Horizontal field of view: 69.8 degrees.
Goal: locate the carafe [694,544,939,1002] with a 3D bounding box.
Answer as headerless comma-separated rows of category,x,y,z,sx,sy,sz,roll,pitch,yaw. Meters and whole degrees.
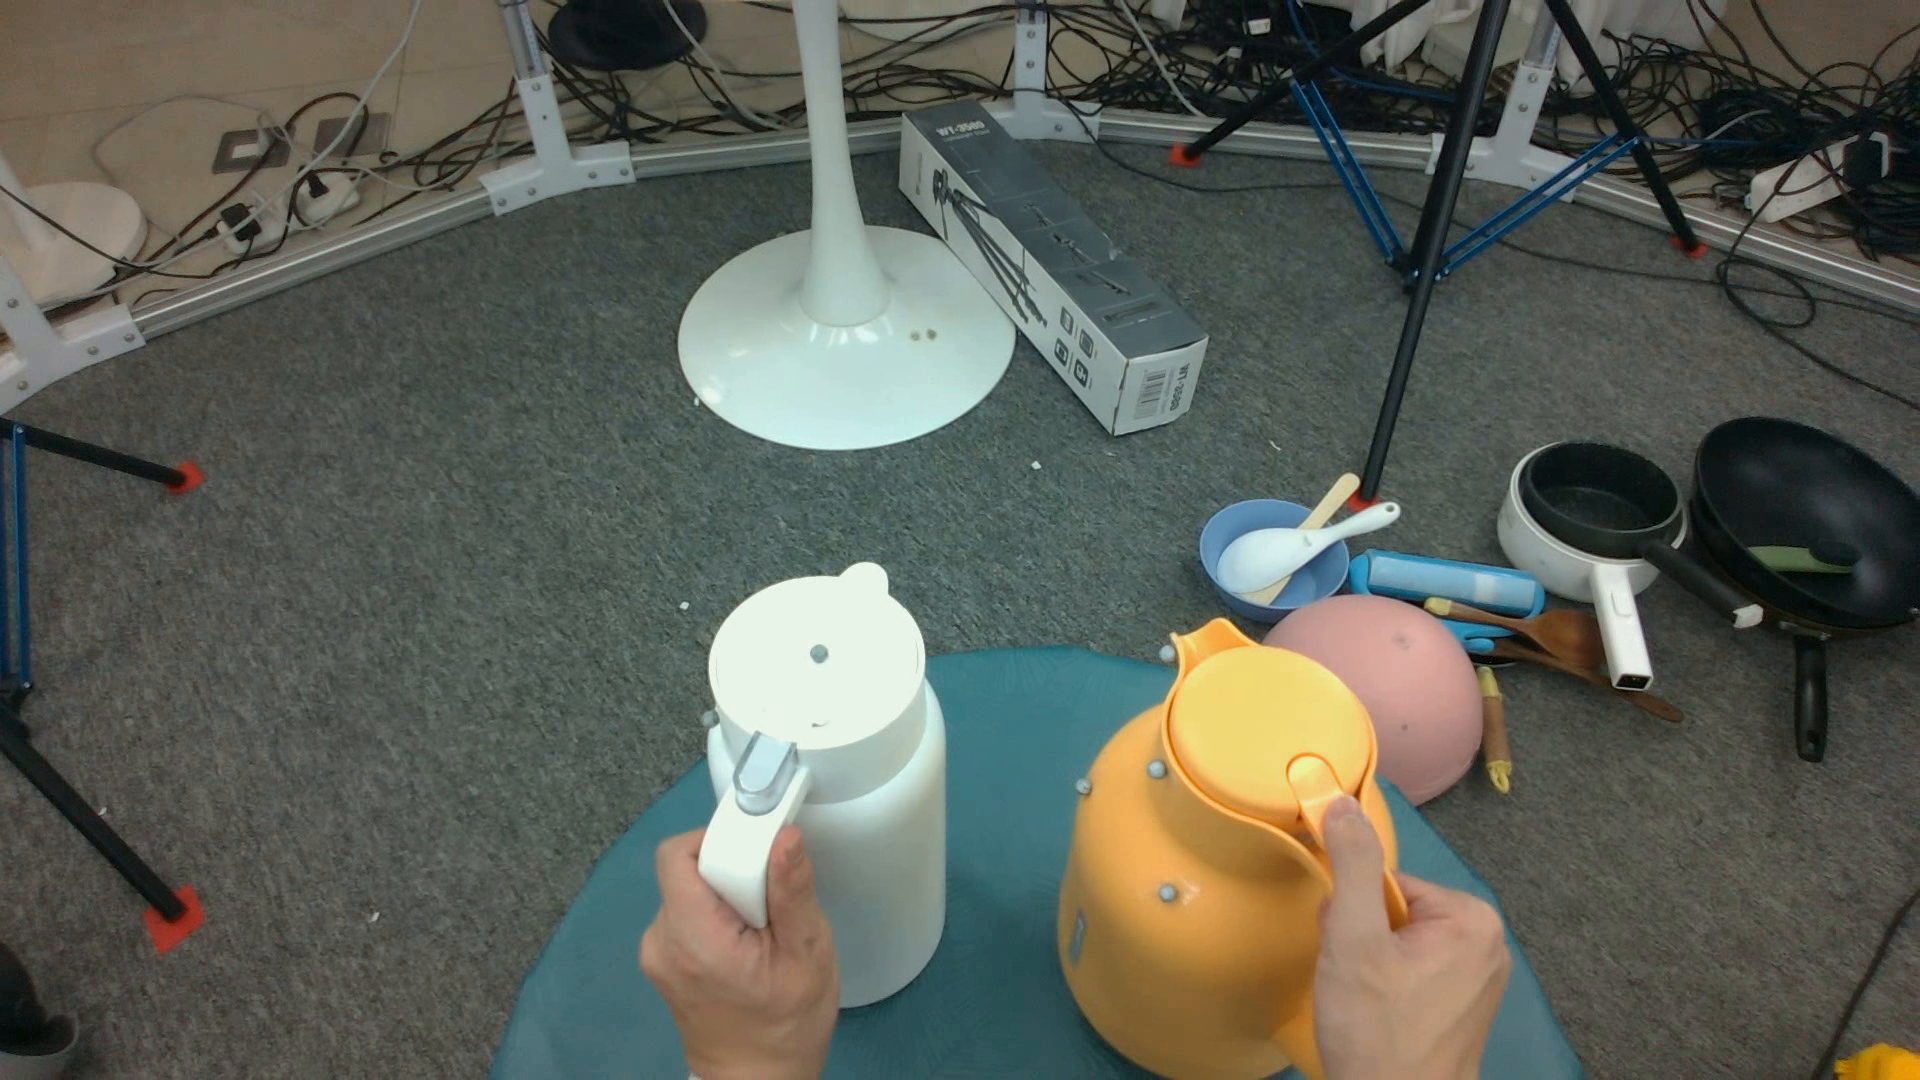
carafe,-0.074,0.148,0.712,0.124,0.267,0.174,16,50,10

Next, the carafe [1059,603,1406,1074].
carafe,0.141,0.170,0.697,0.164,0.259,0.203,-16,50,-12
